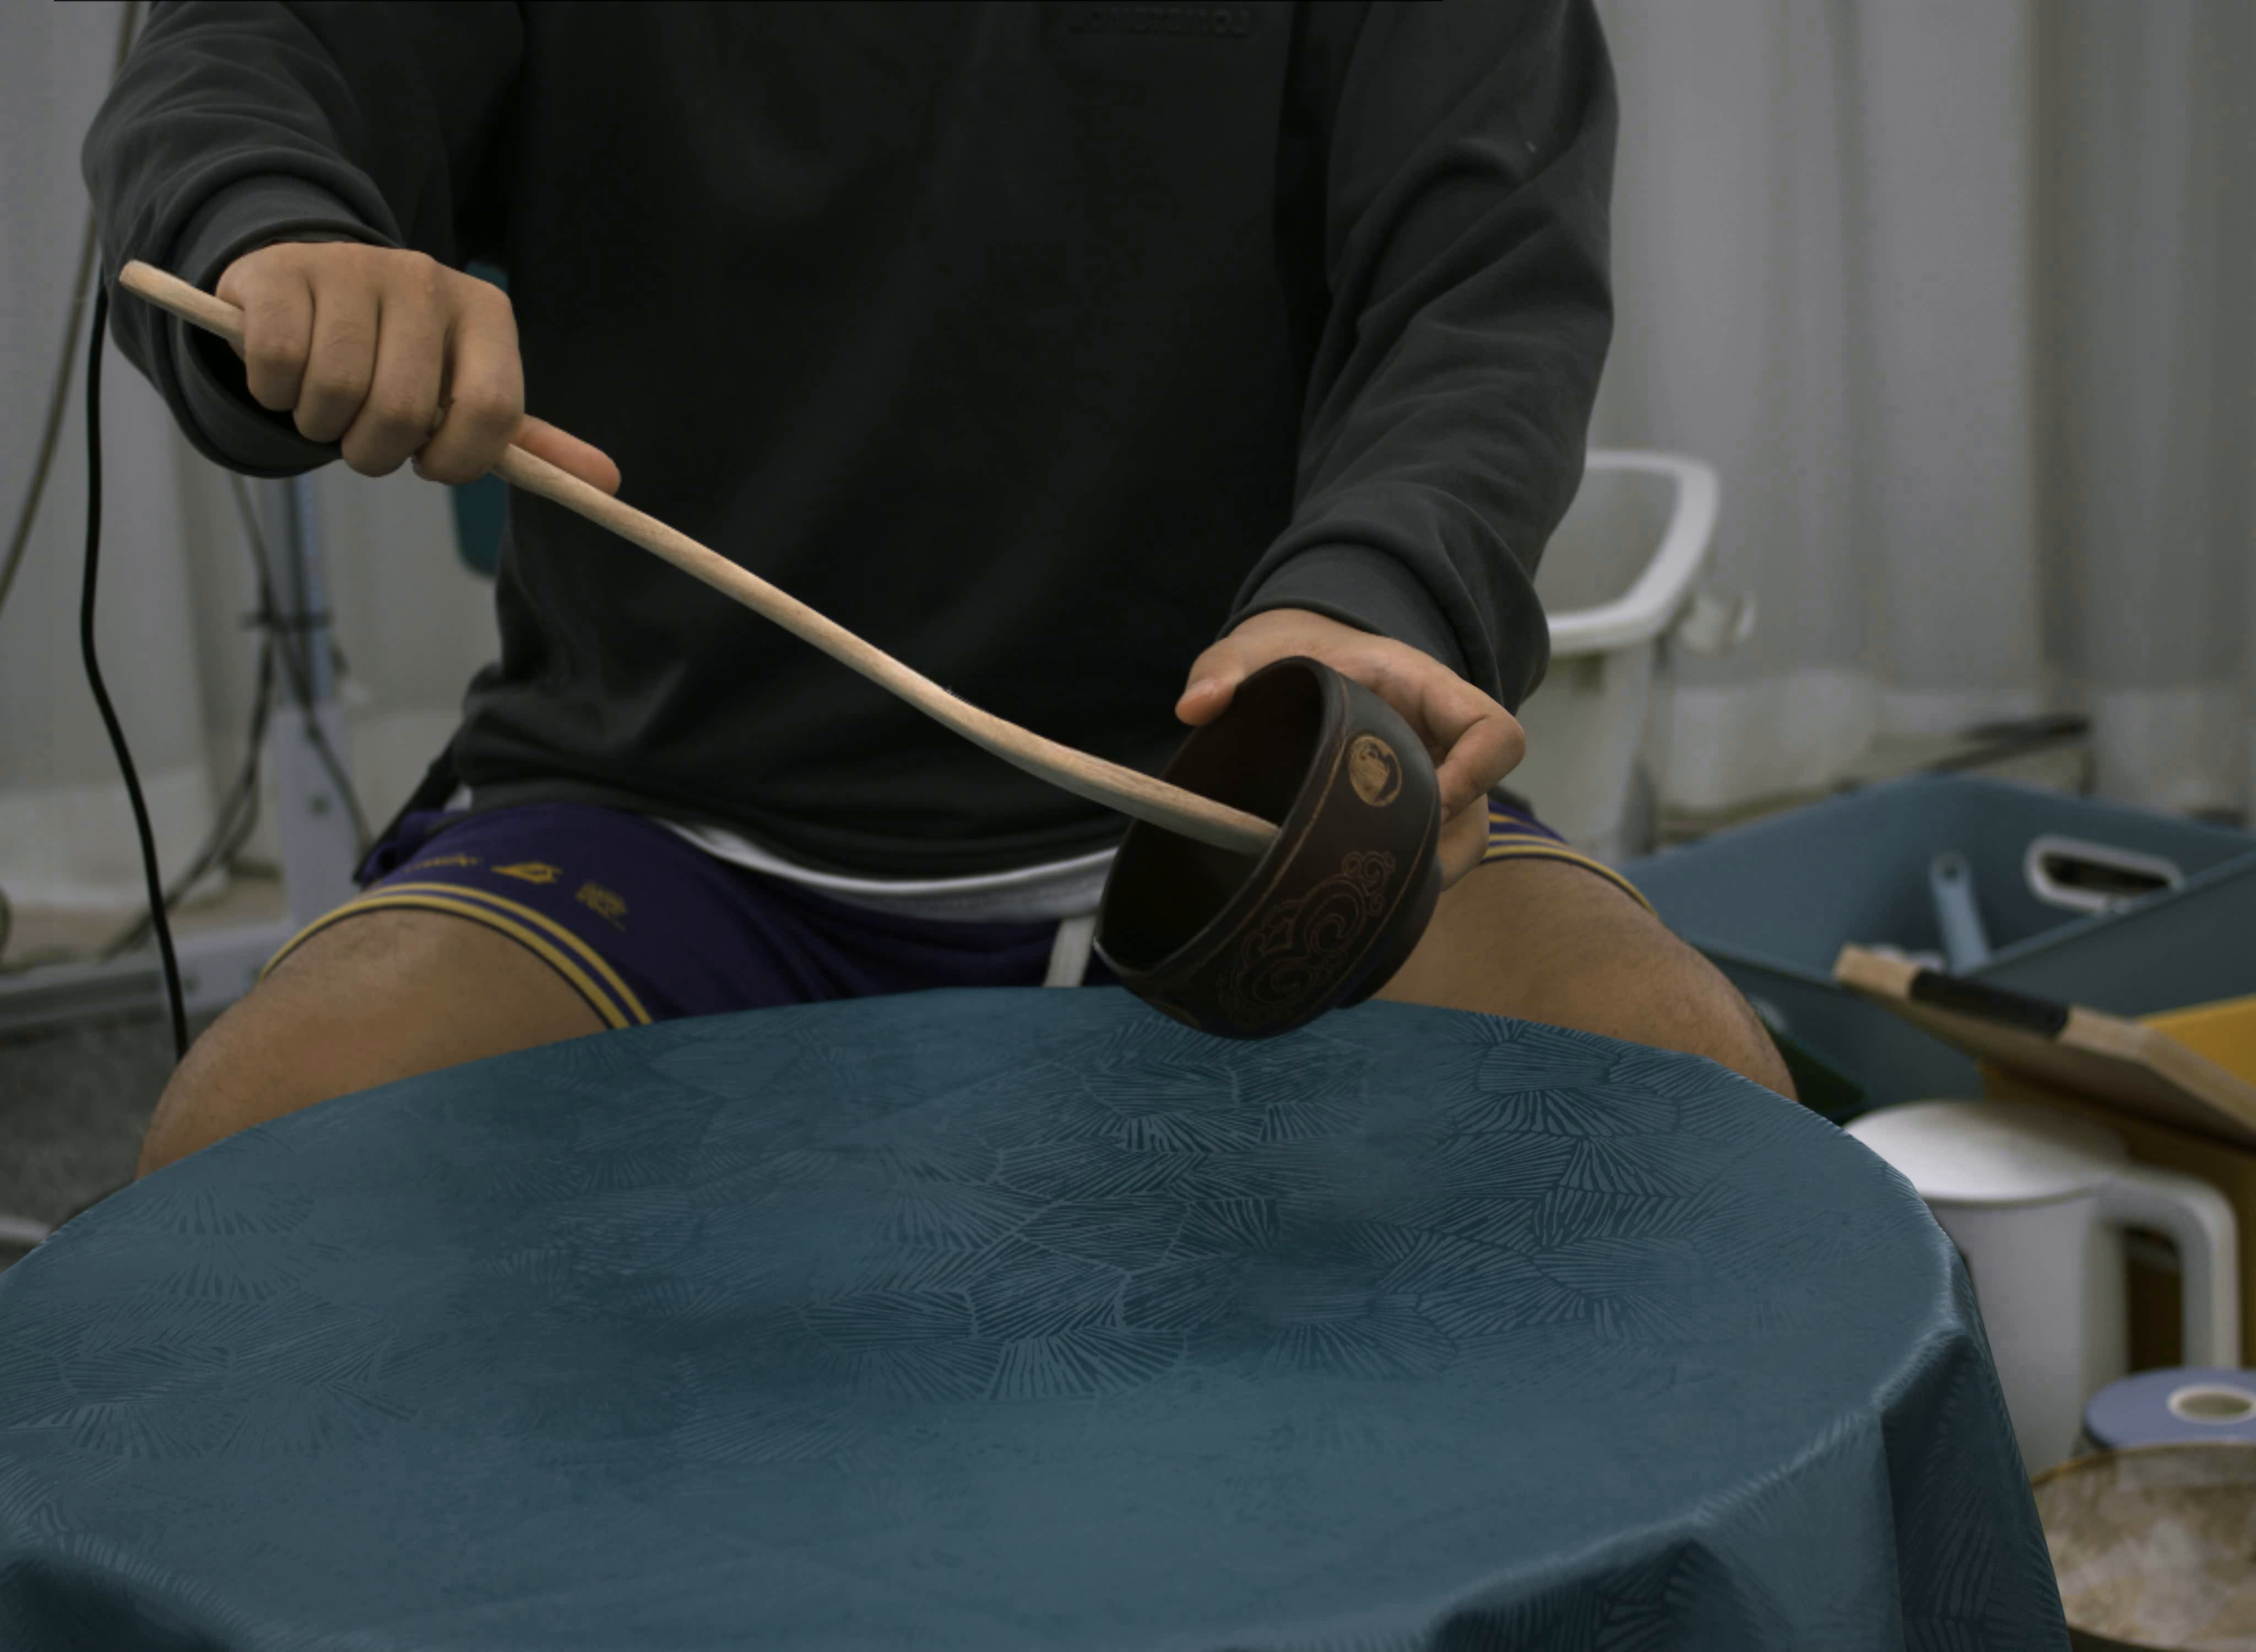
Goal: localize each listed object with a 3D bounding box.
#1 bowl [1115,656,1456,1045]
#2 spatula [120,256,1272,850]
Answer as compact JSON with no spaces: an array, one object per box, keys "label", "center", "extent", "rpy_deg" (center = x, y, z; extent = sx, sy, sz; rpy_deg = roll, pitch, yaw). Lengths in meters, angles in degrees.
[{"label":"bowl","center":[0.055,0.015,1.654],"extent":[0.069,0.118,0.119],"rpy_deg":[33,10,-11]},{"label":"spatula","center":[-0.127,-0.080,1.640],"extent":[0.390,0.018,0.095],"rpy_deg":[29,-5,0]}]
